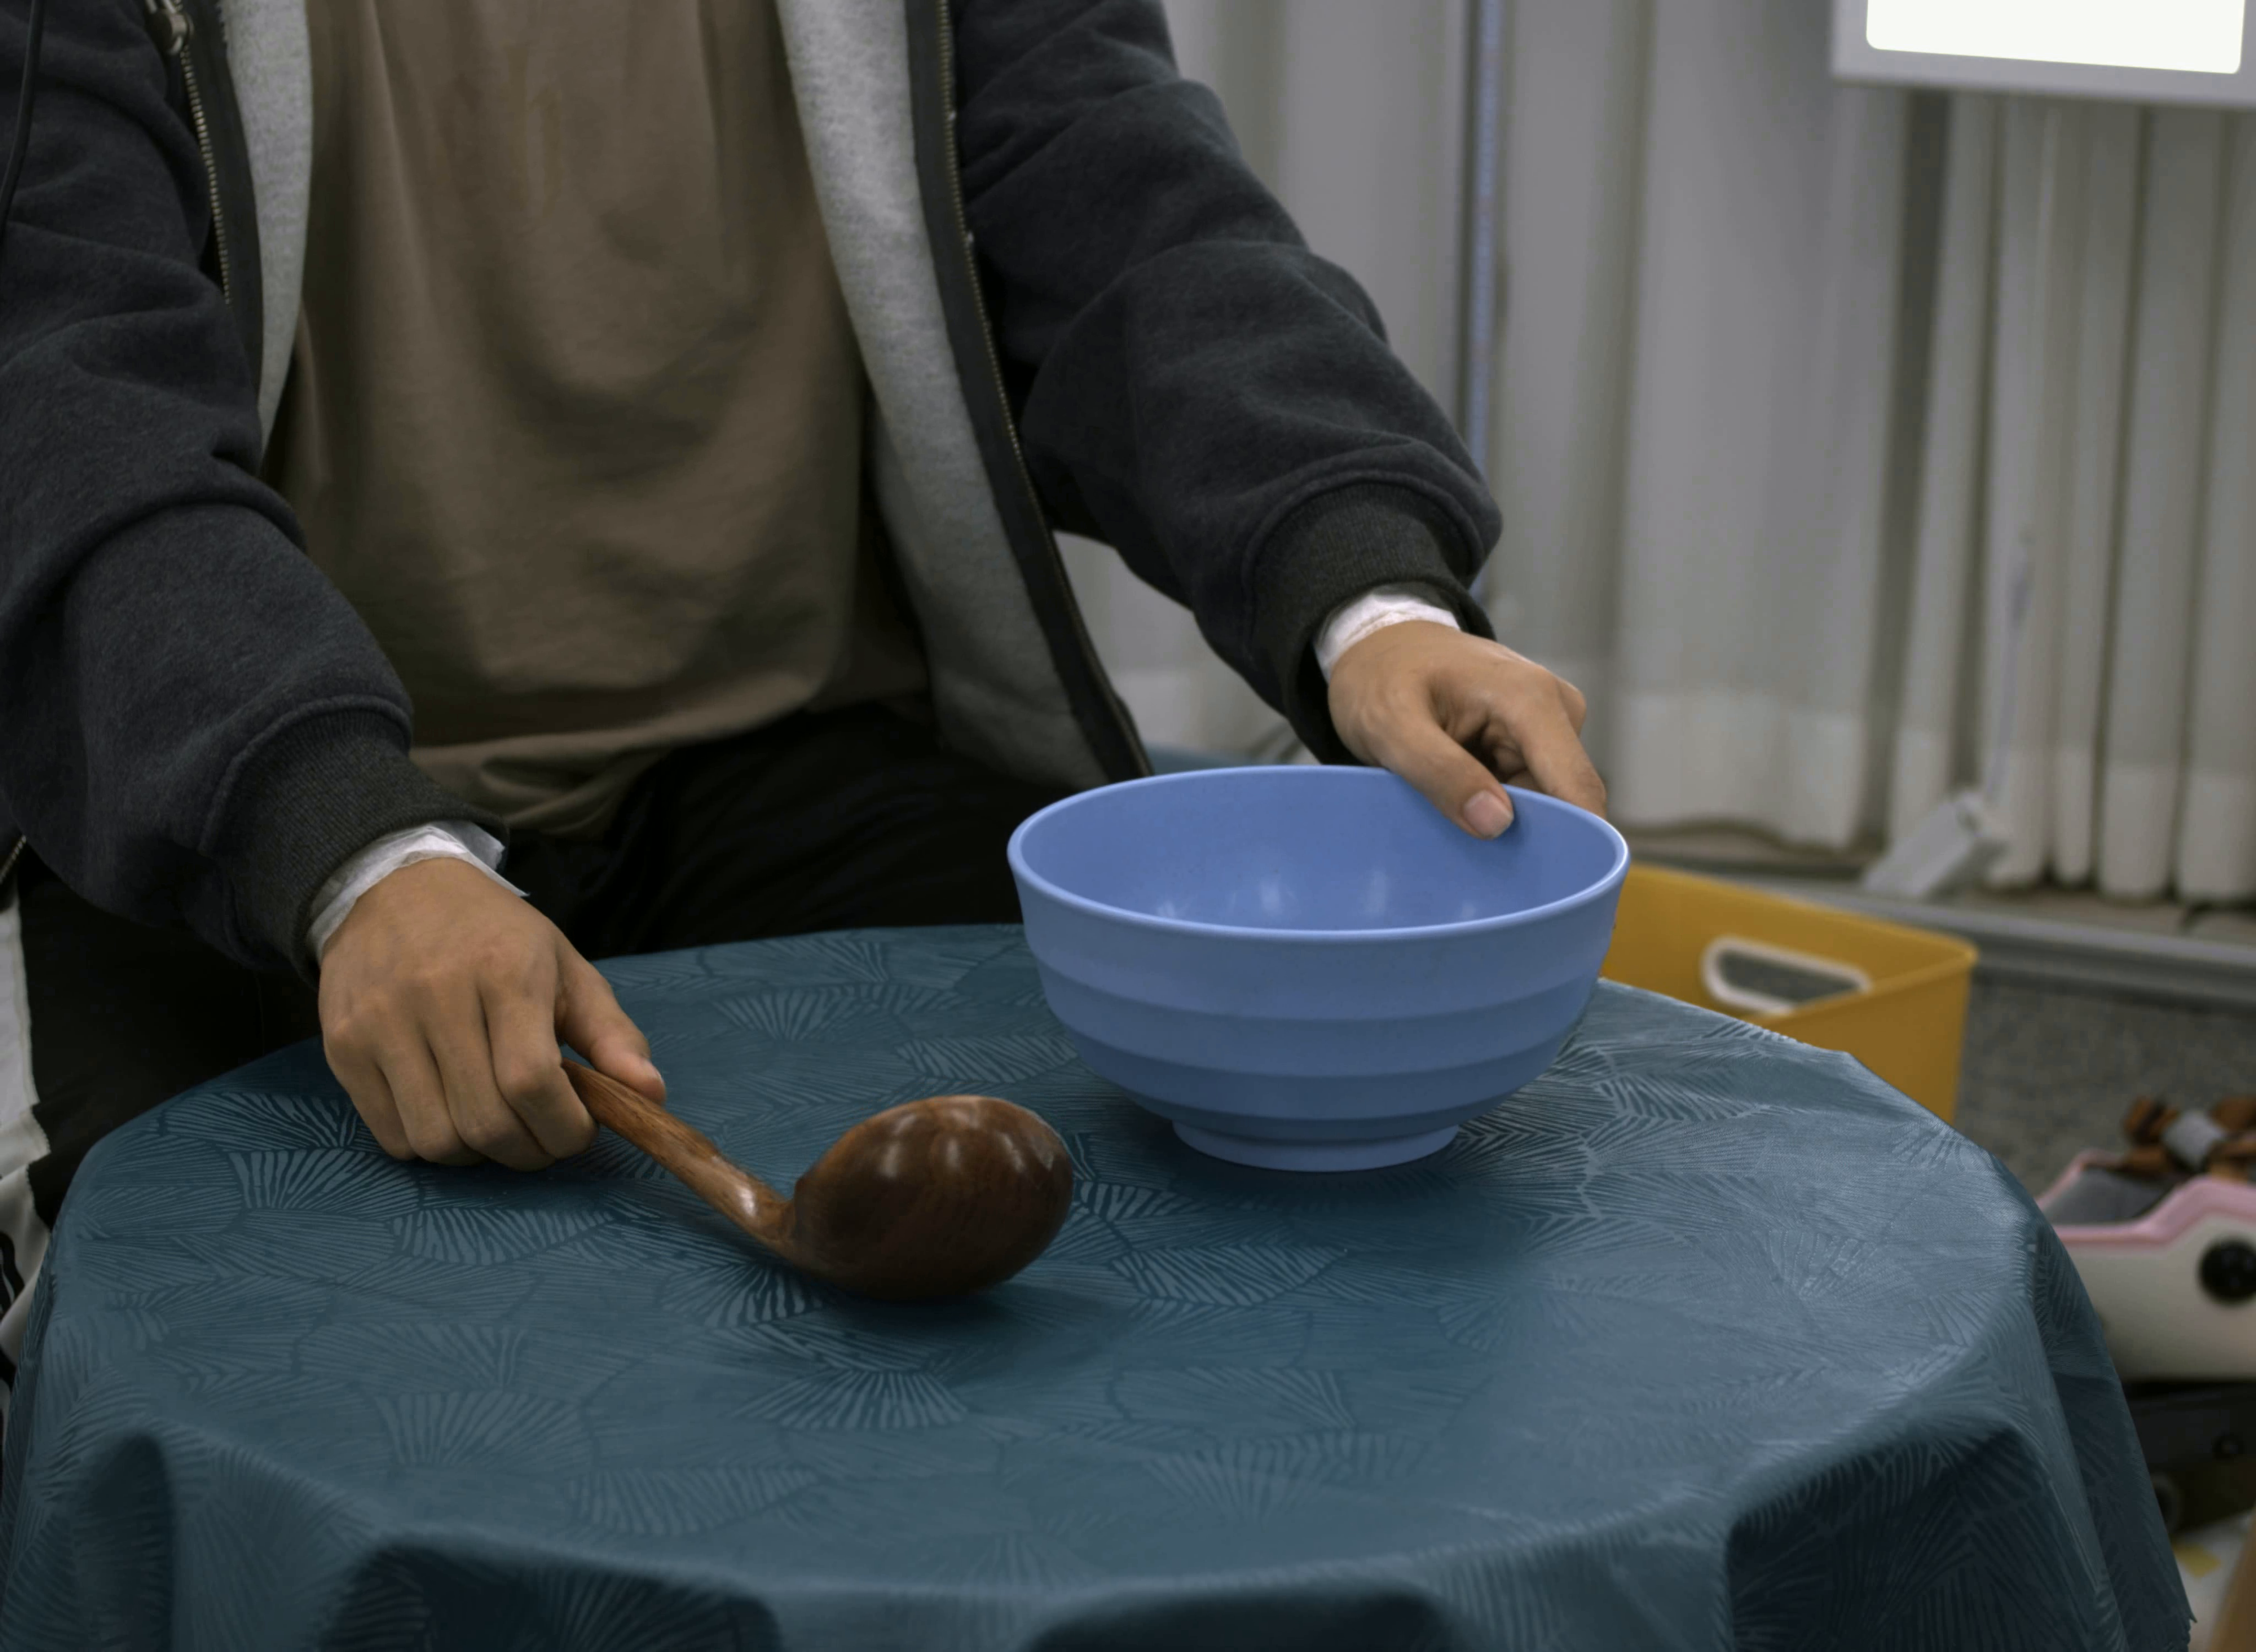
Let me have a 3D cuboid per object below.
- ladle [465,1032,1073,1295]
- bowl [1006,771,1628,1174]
[{"bbox_3d":[-0.116,0.078,1.591,0.083,0.076,0.270,34,-6,-38],"label":"ladle"},{"bbox_3d":[0.060,0.051,1.670,0.196,0.096,0.195,0,15,1],"label":"bowl"}]
